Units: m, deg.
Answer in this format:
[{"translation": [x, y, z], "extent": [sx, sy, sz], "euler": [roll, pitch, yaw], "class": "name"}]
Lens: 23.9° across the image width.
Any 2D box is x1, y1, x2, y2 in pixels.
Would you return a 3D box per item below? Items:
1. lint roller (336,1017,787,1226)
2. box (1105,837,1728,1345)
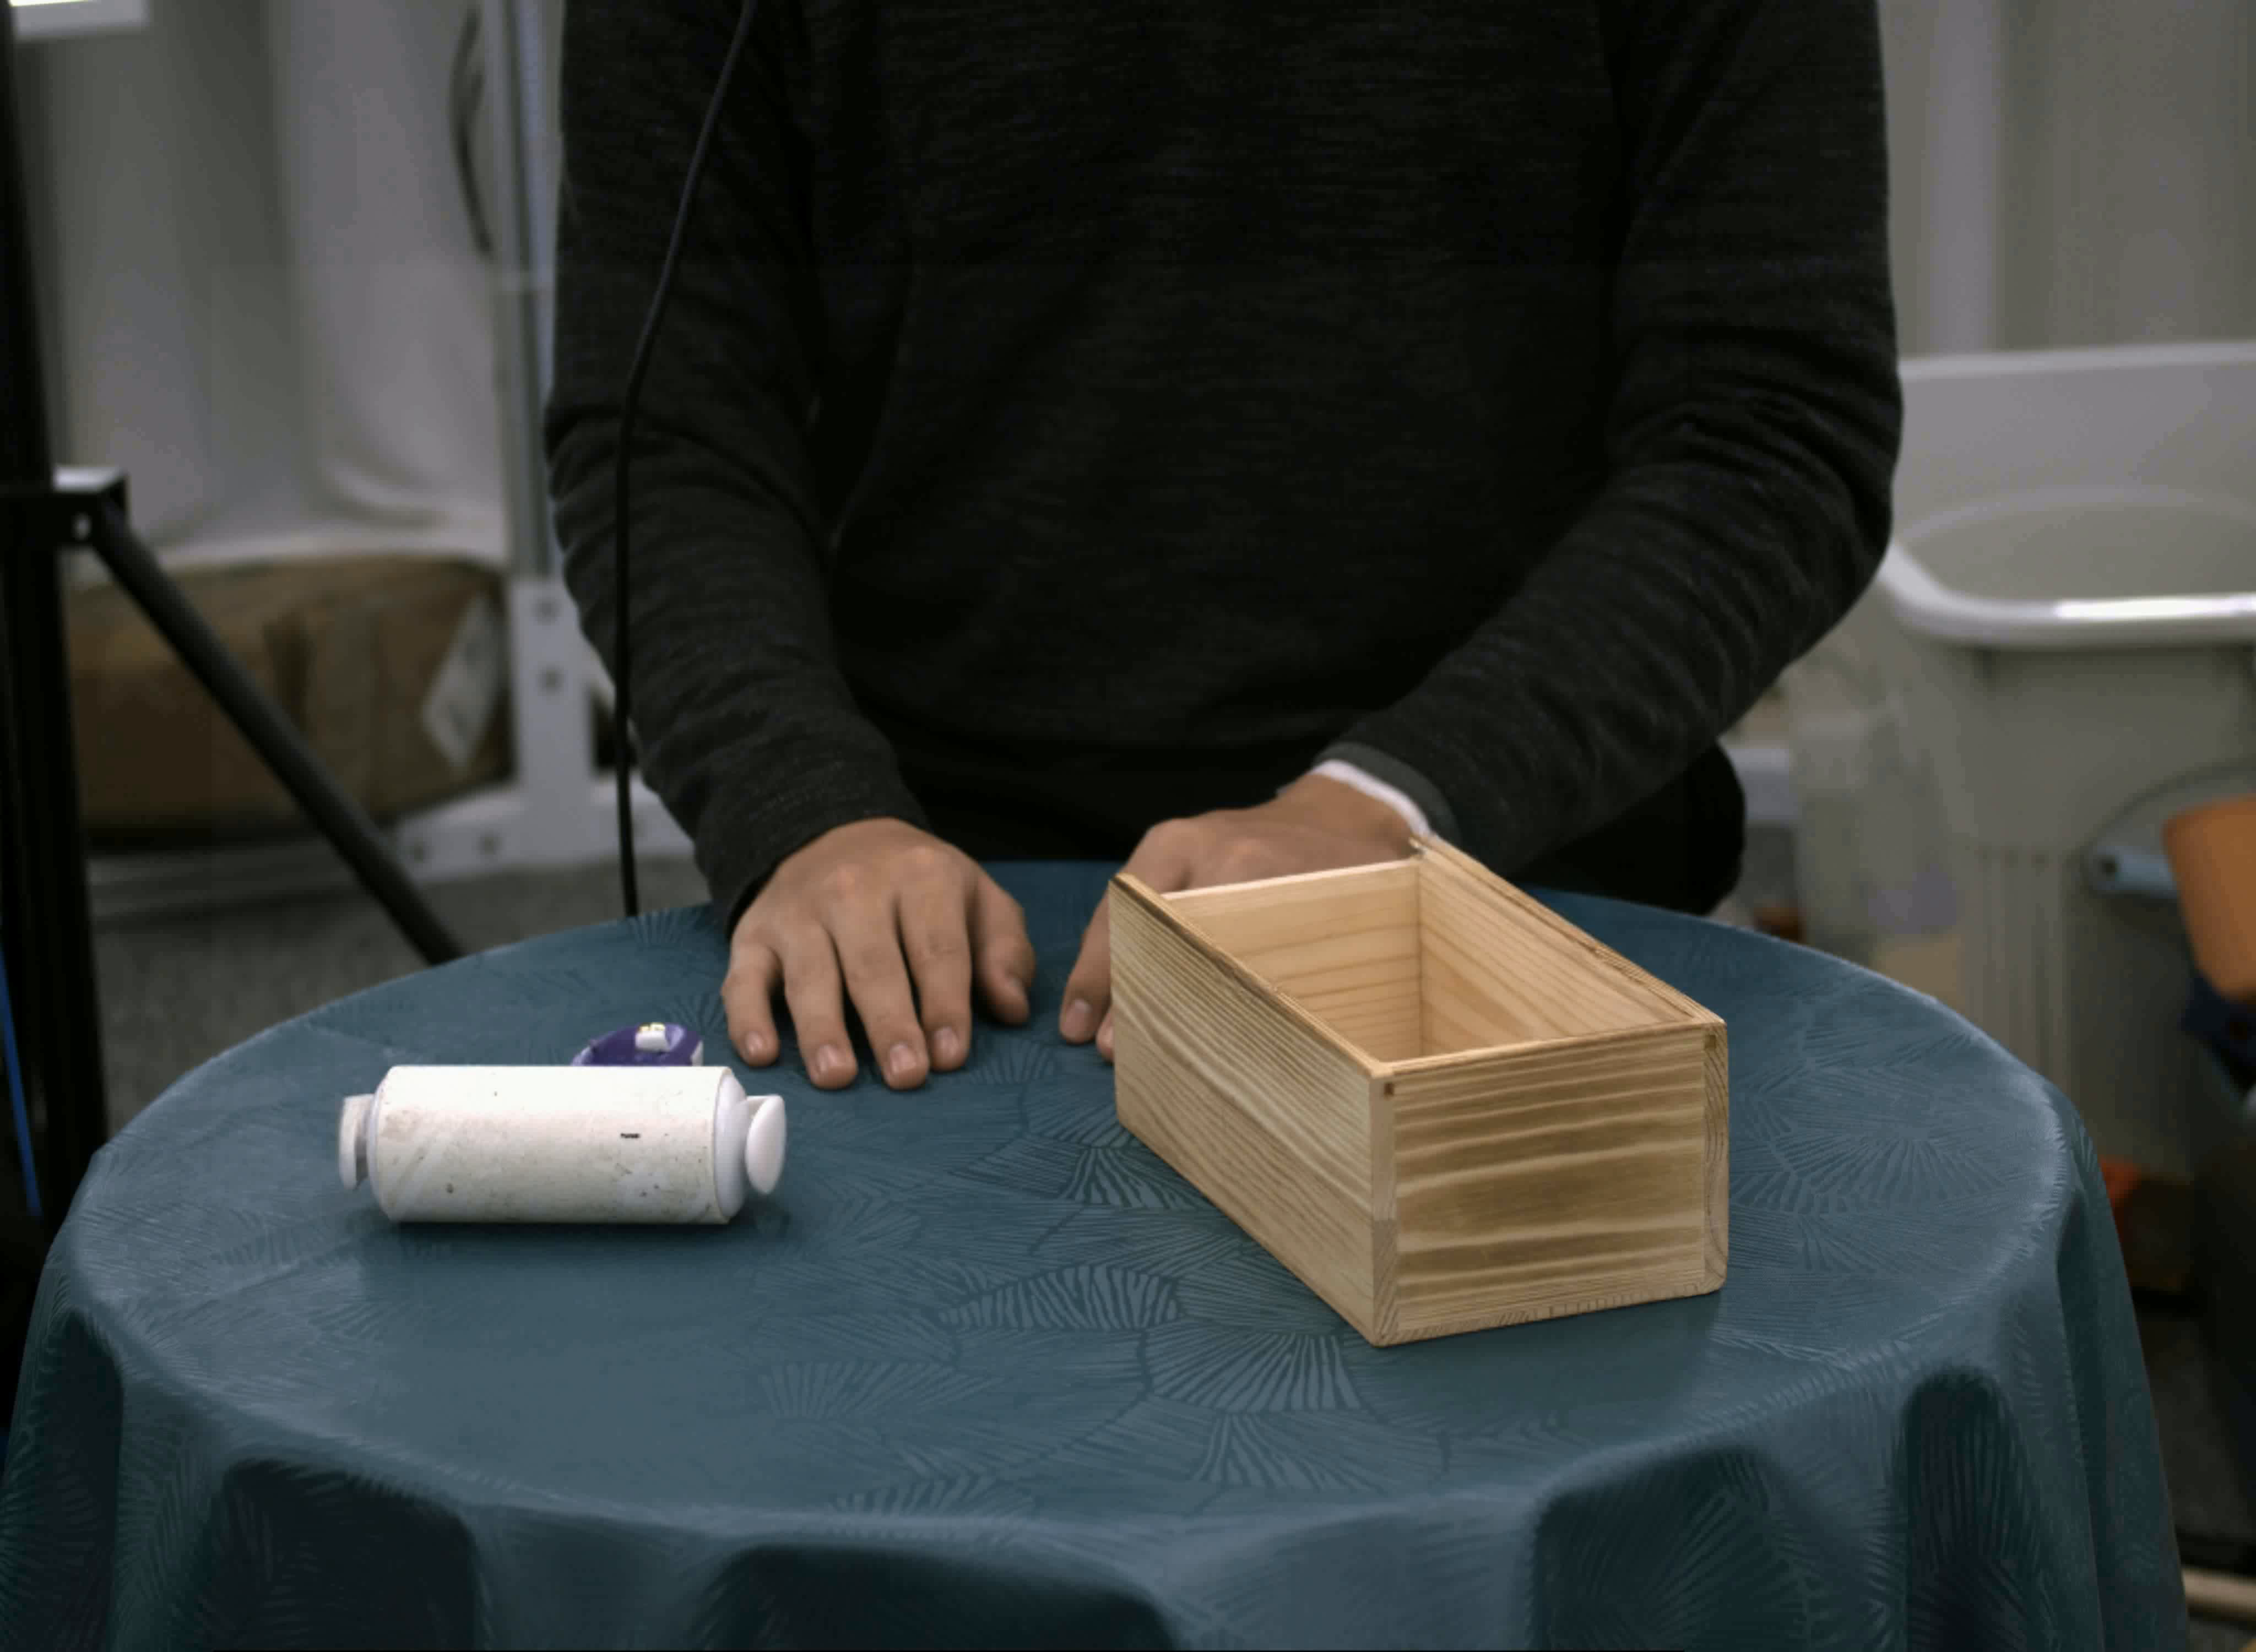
[{"translation": [-0.157, 0.074, 1.617], "extent": [0.133, 0.050, 0.180], "euler": [-1, 18, 9], "class": "lint roller"}, {"translation": [0.079, 0.072, 1.525], "extent": [0.105, 0.080, 0.215], "euler": [-7, 16, -18], "class": "box"}]
